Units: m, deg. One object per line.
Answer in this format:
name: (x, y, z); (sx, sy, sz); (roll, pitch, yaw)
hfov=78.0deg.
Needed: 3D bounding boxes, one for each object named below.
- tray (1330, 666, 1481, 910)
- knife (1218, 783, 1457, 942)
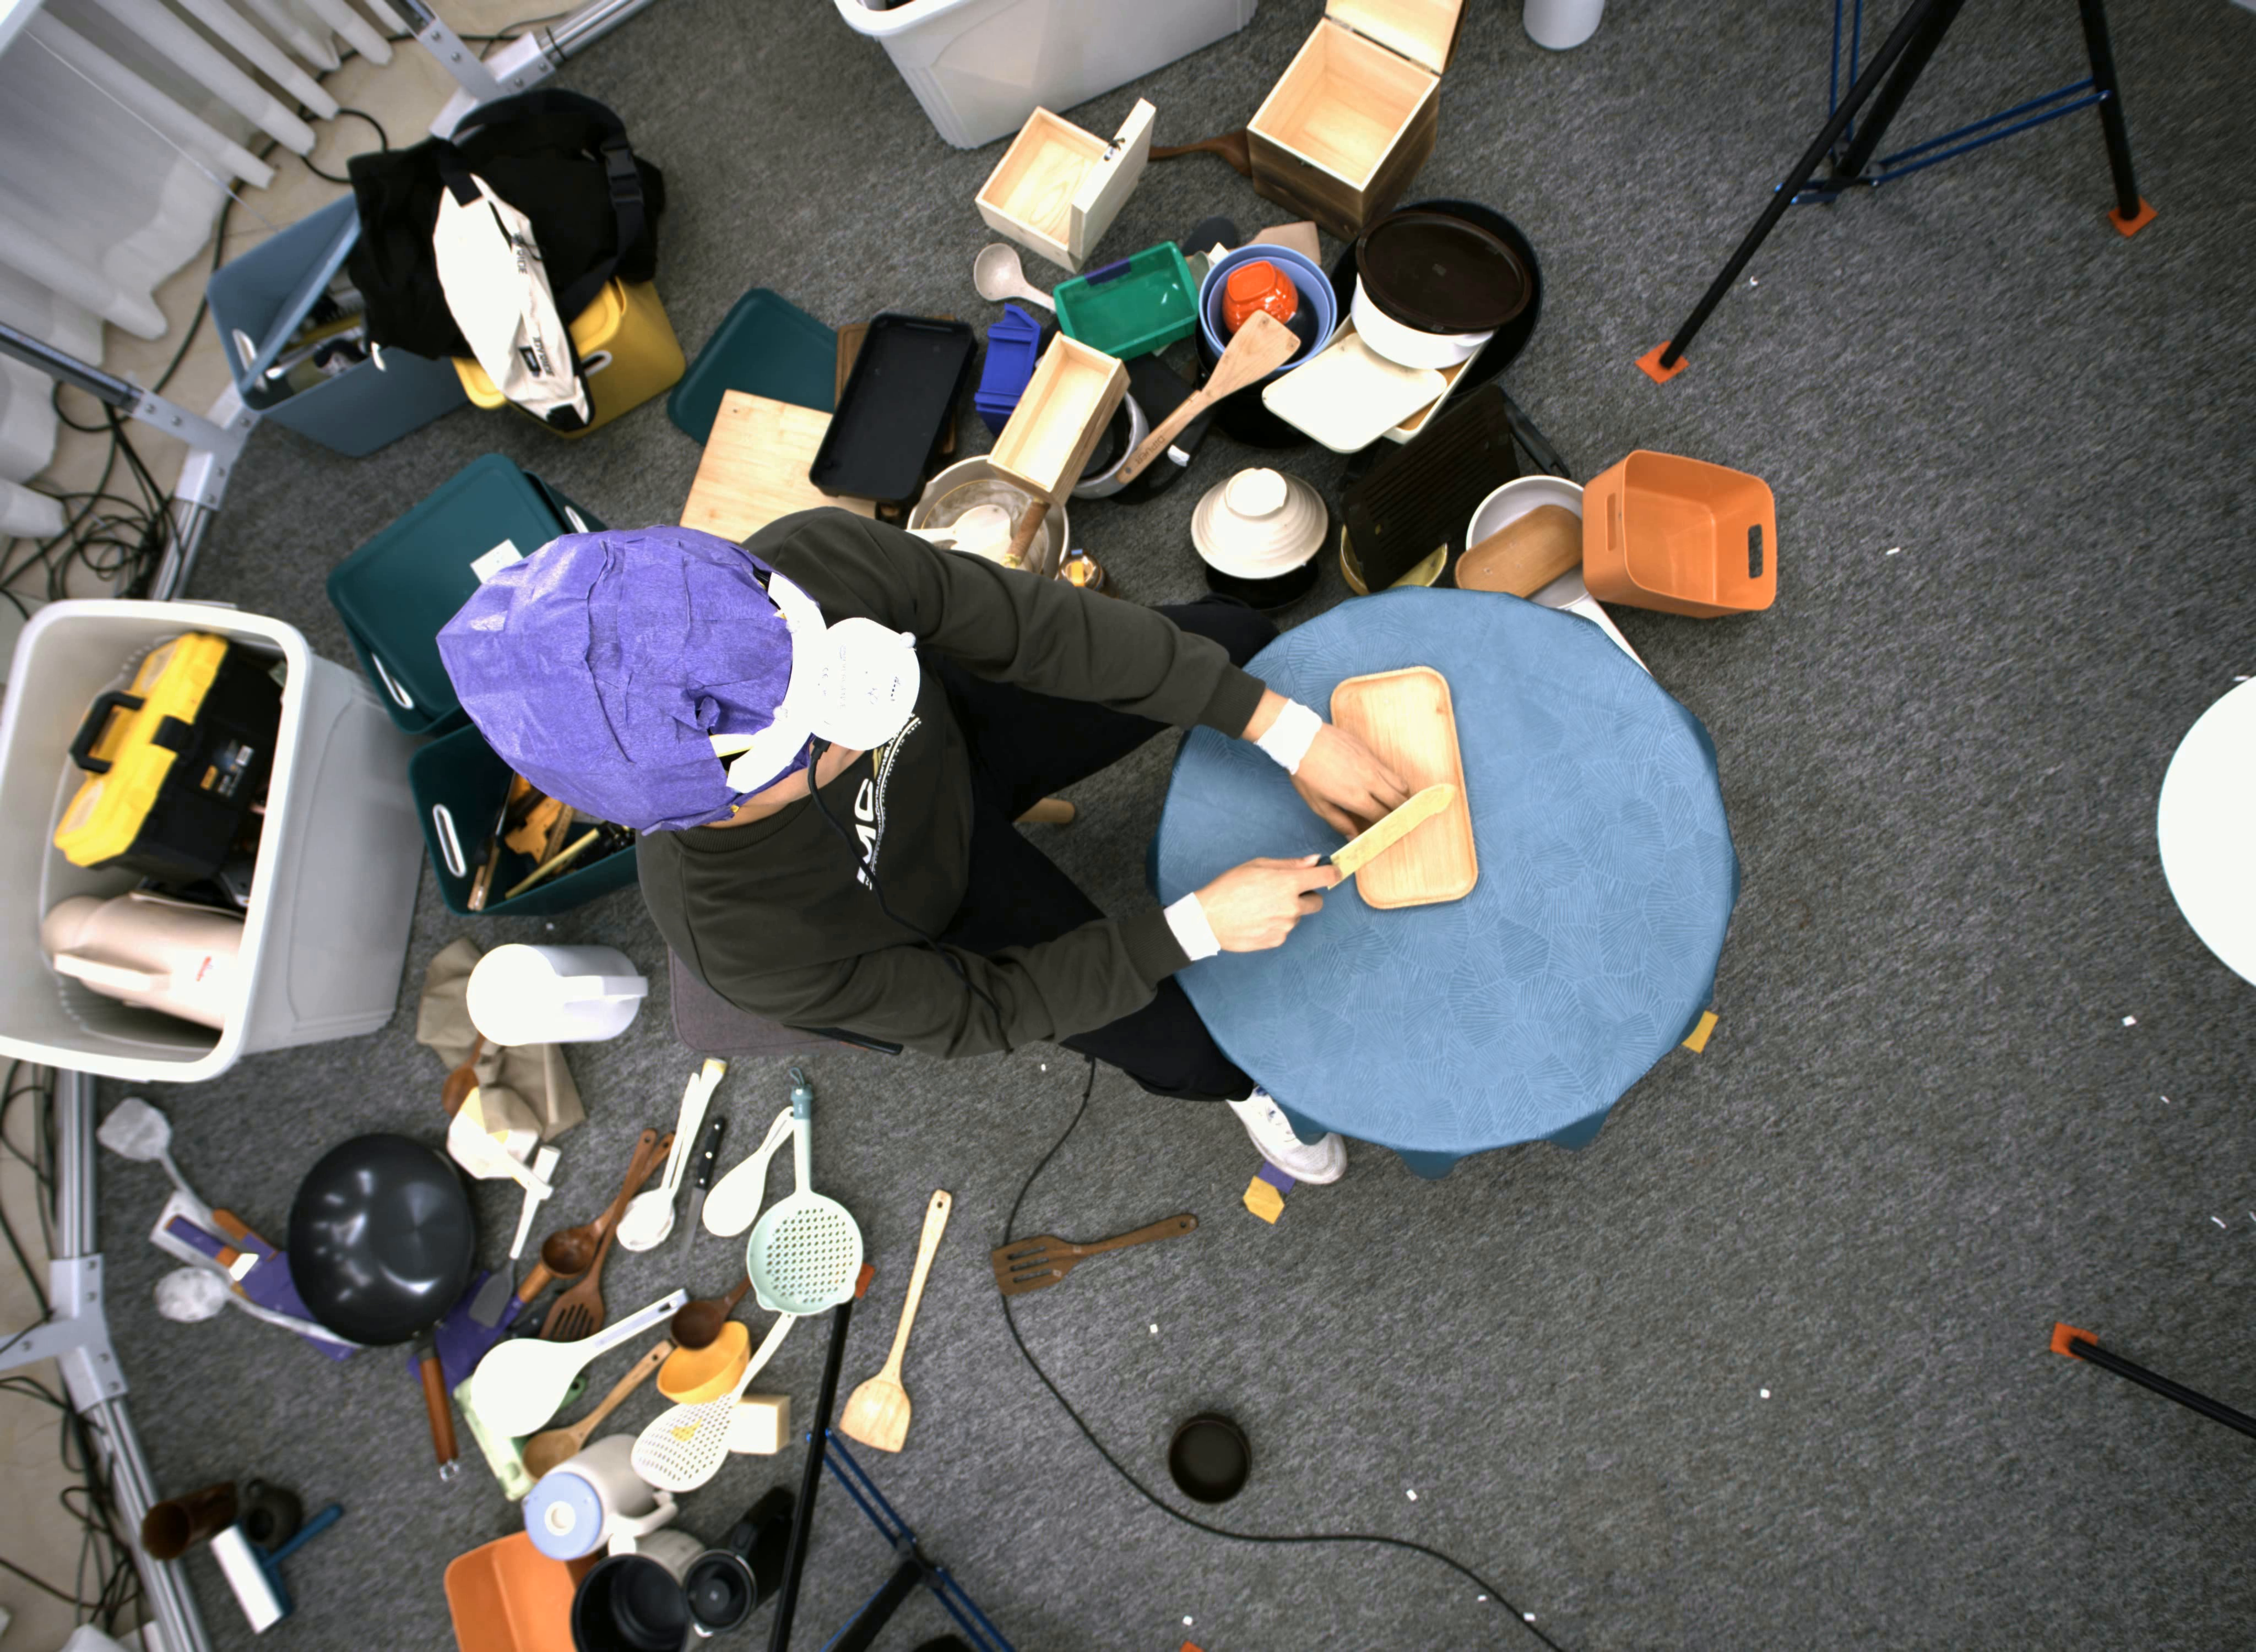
tray: (0.293, -0.042, 1.457); (0.131, 0.023, 0.250); (-8, 88, 13)
knife: (0.217, 0.036, 1.411); (0.290, 0.082, 0.027); (-33, 61, 0)
